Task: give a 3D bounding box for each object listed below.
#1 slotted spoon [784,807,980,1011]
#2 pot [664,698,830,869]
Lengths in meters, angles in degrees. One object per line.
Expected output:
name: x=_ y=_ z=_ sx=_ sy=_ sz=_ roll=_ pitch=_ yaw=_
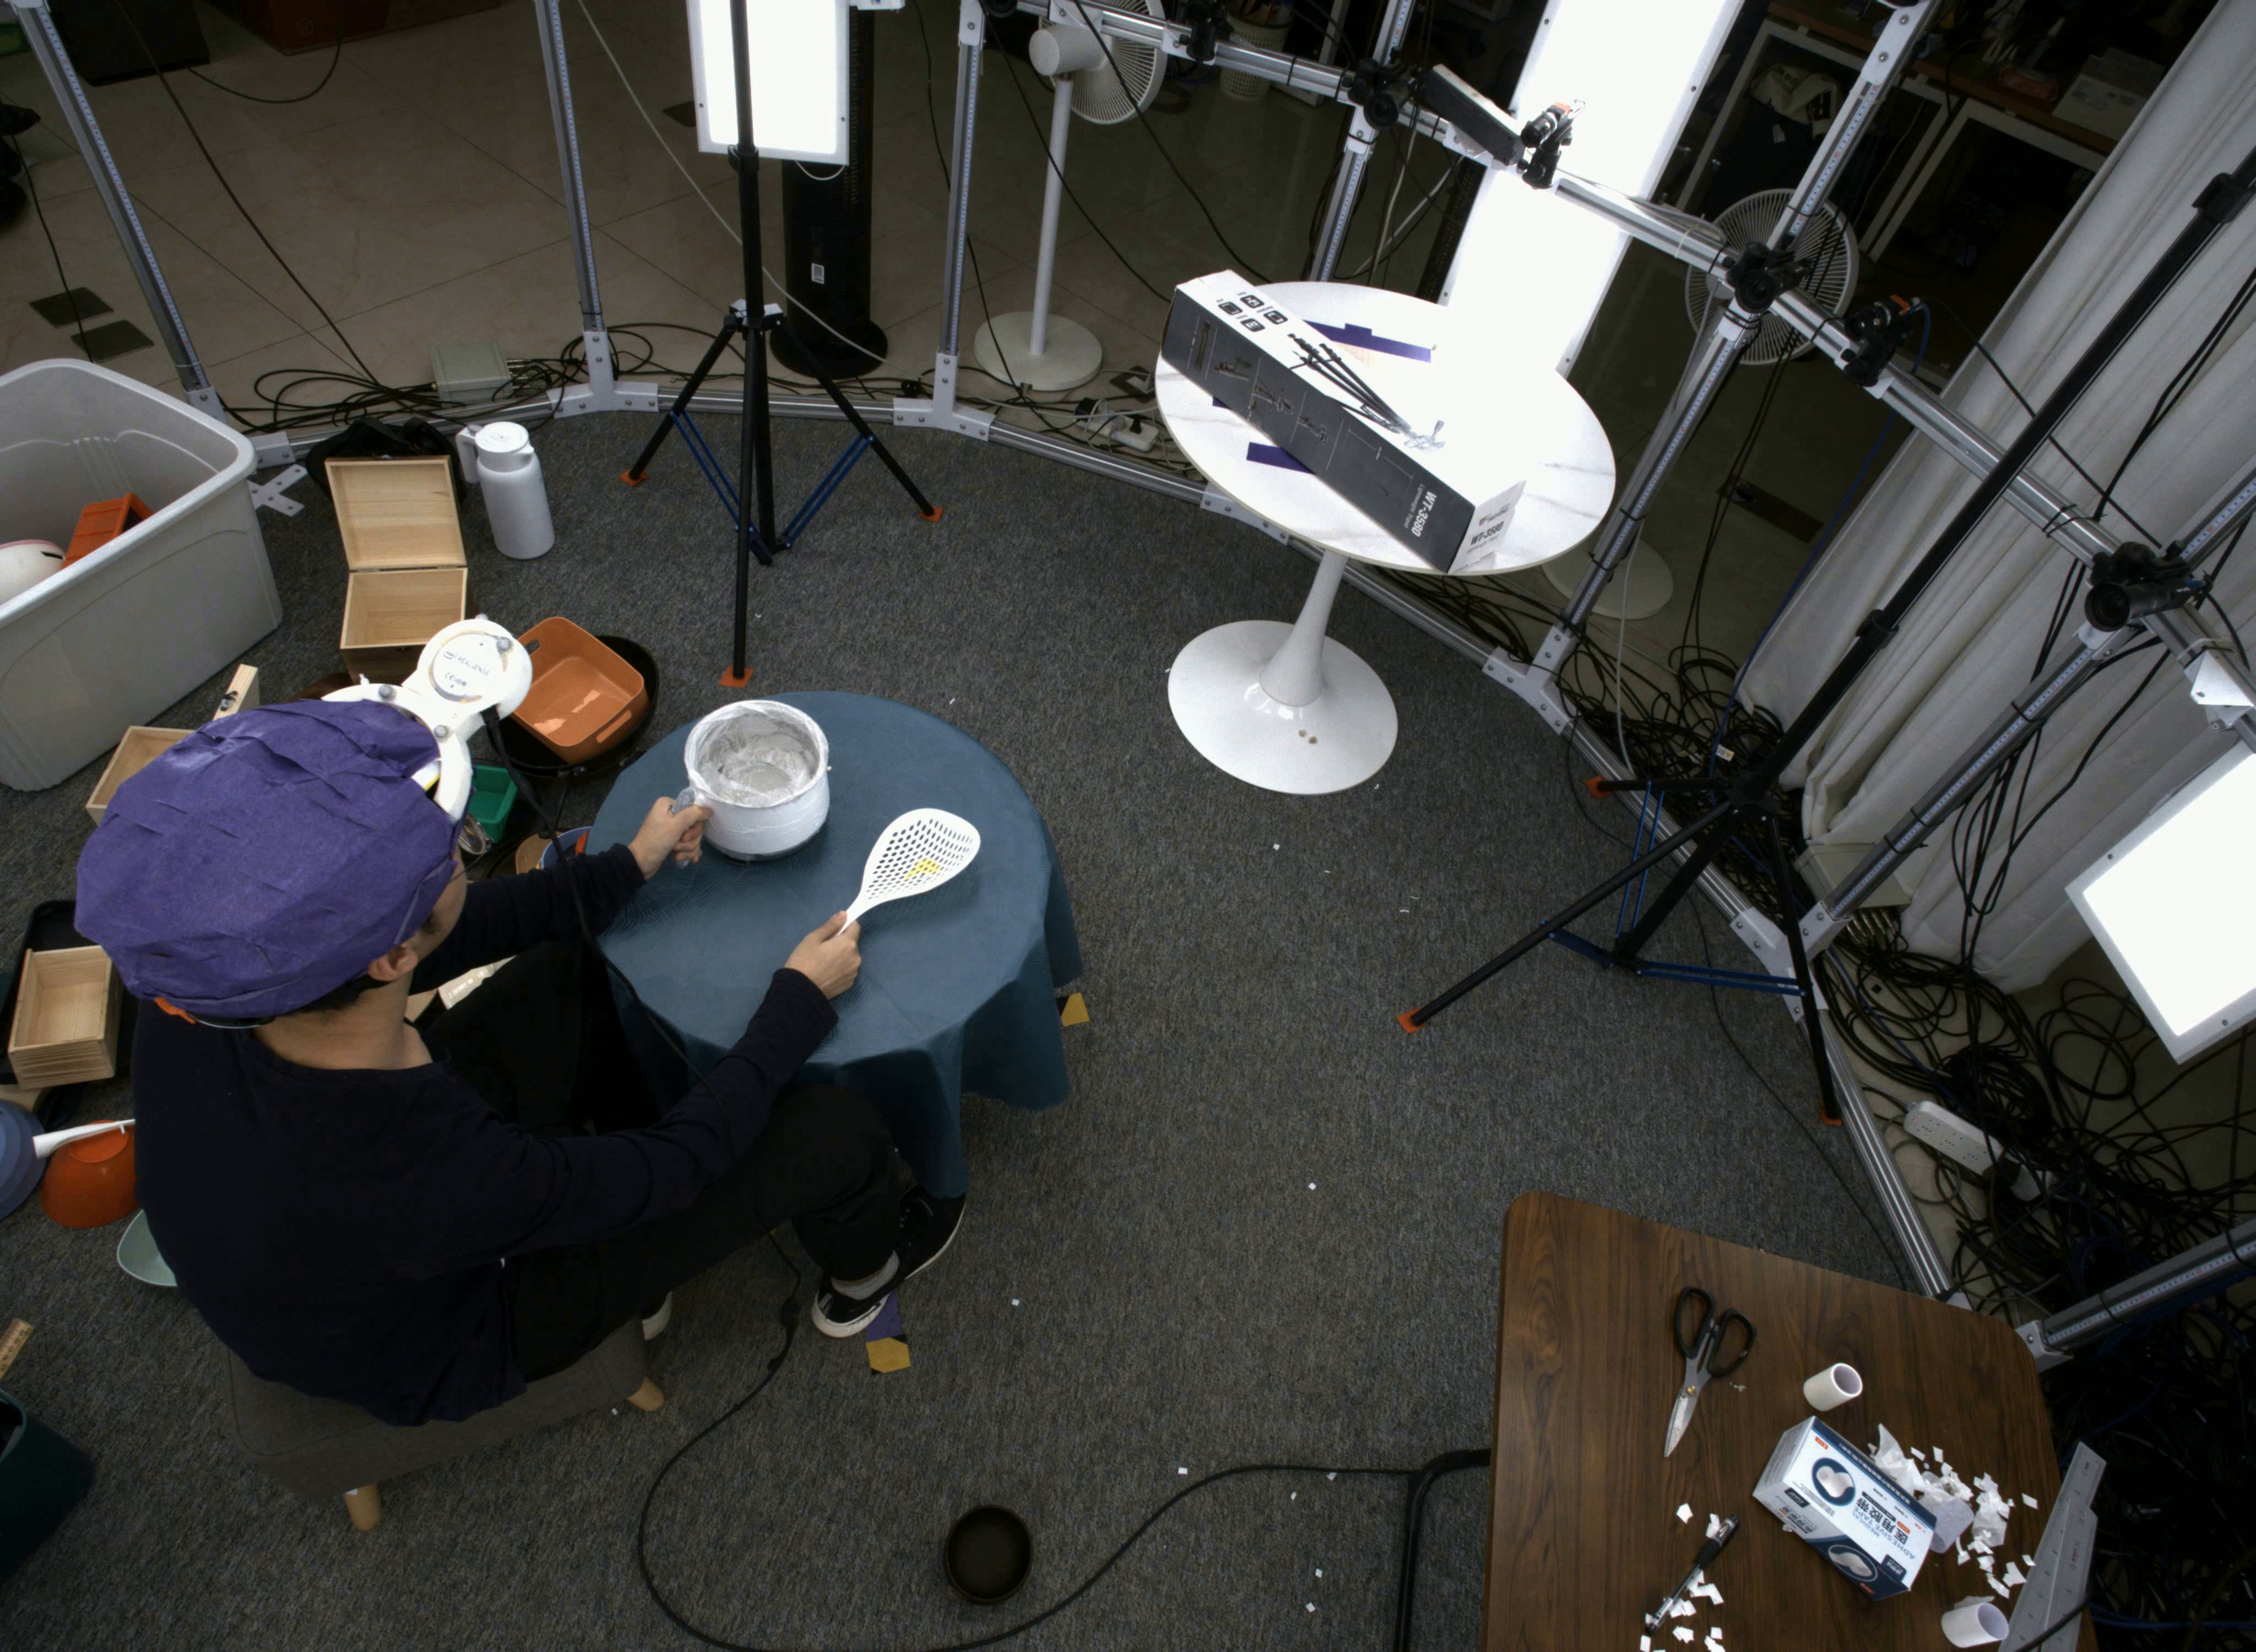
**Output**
slotted spoon: x=-0.324 y=0.099 z=1.652 sx=0.133 sy=0.052 sz=0.347 roll=25 pitch=48 yaw=22
pot: x=-0.495 y=-0.042 z=1.659 sx=0.174 sy=0.140 sz=0.234 roll=37 pitch=54 yaw=18
